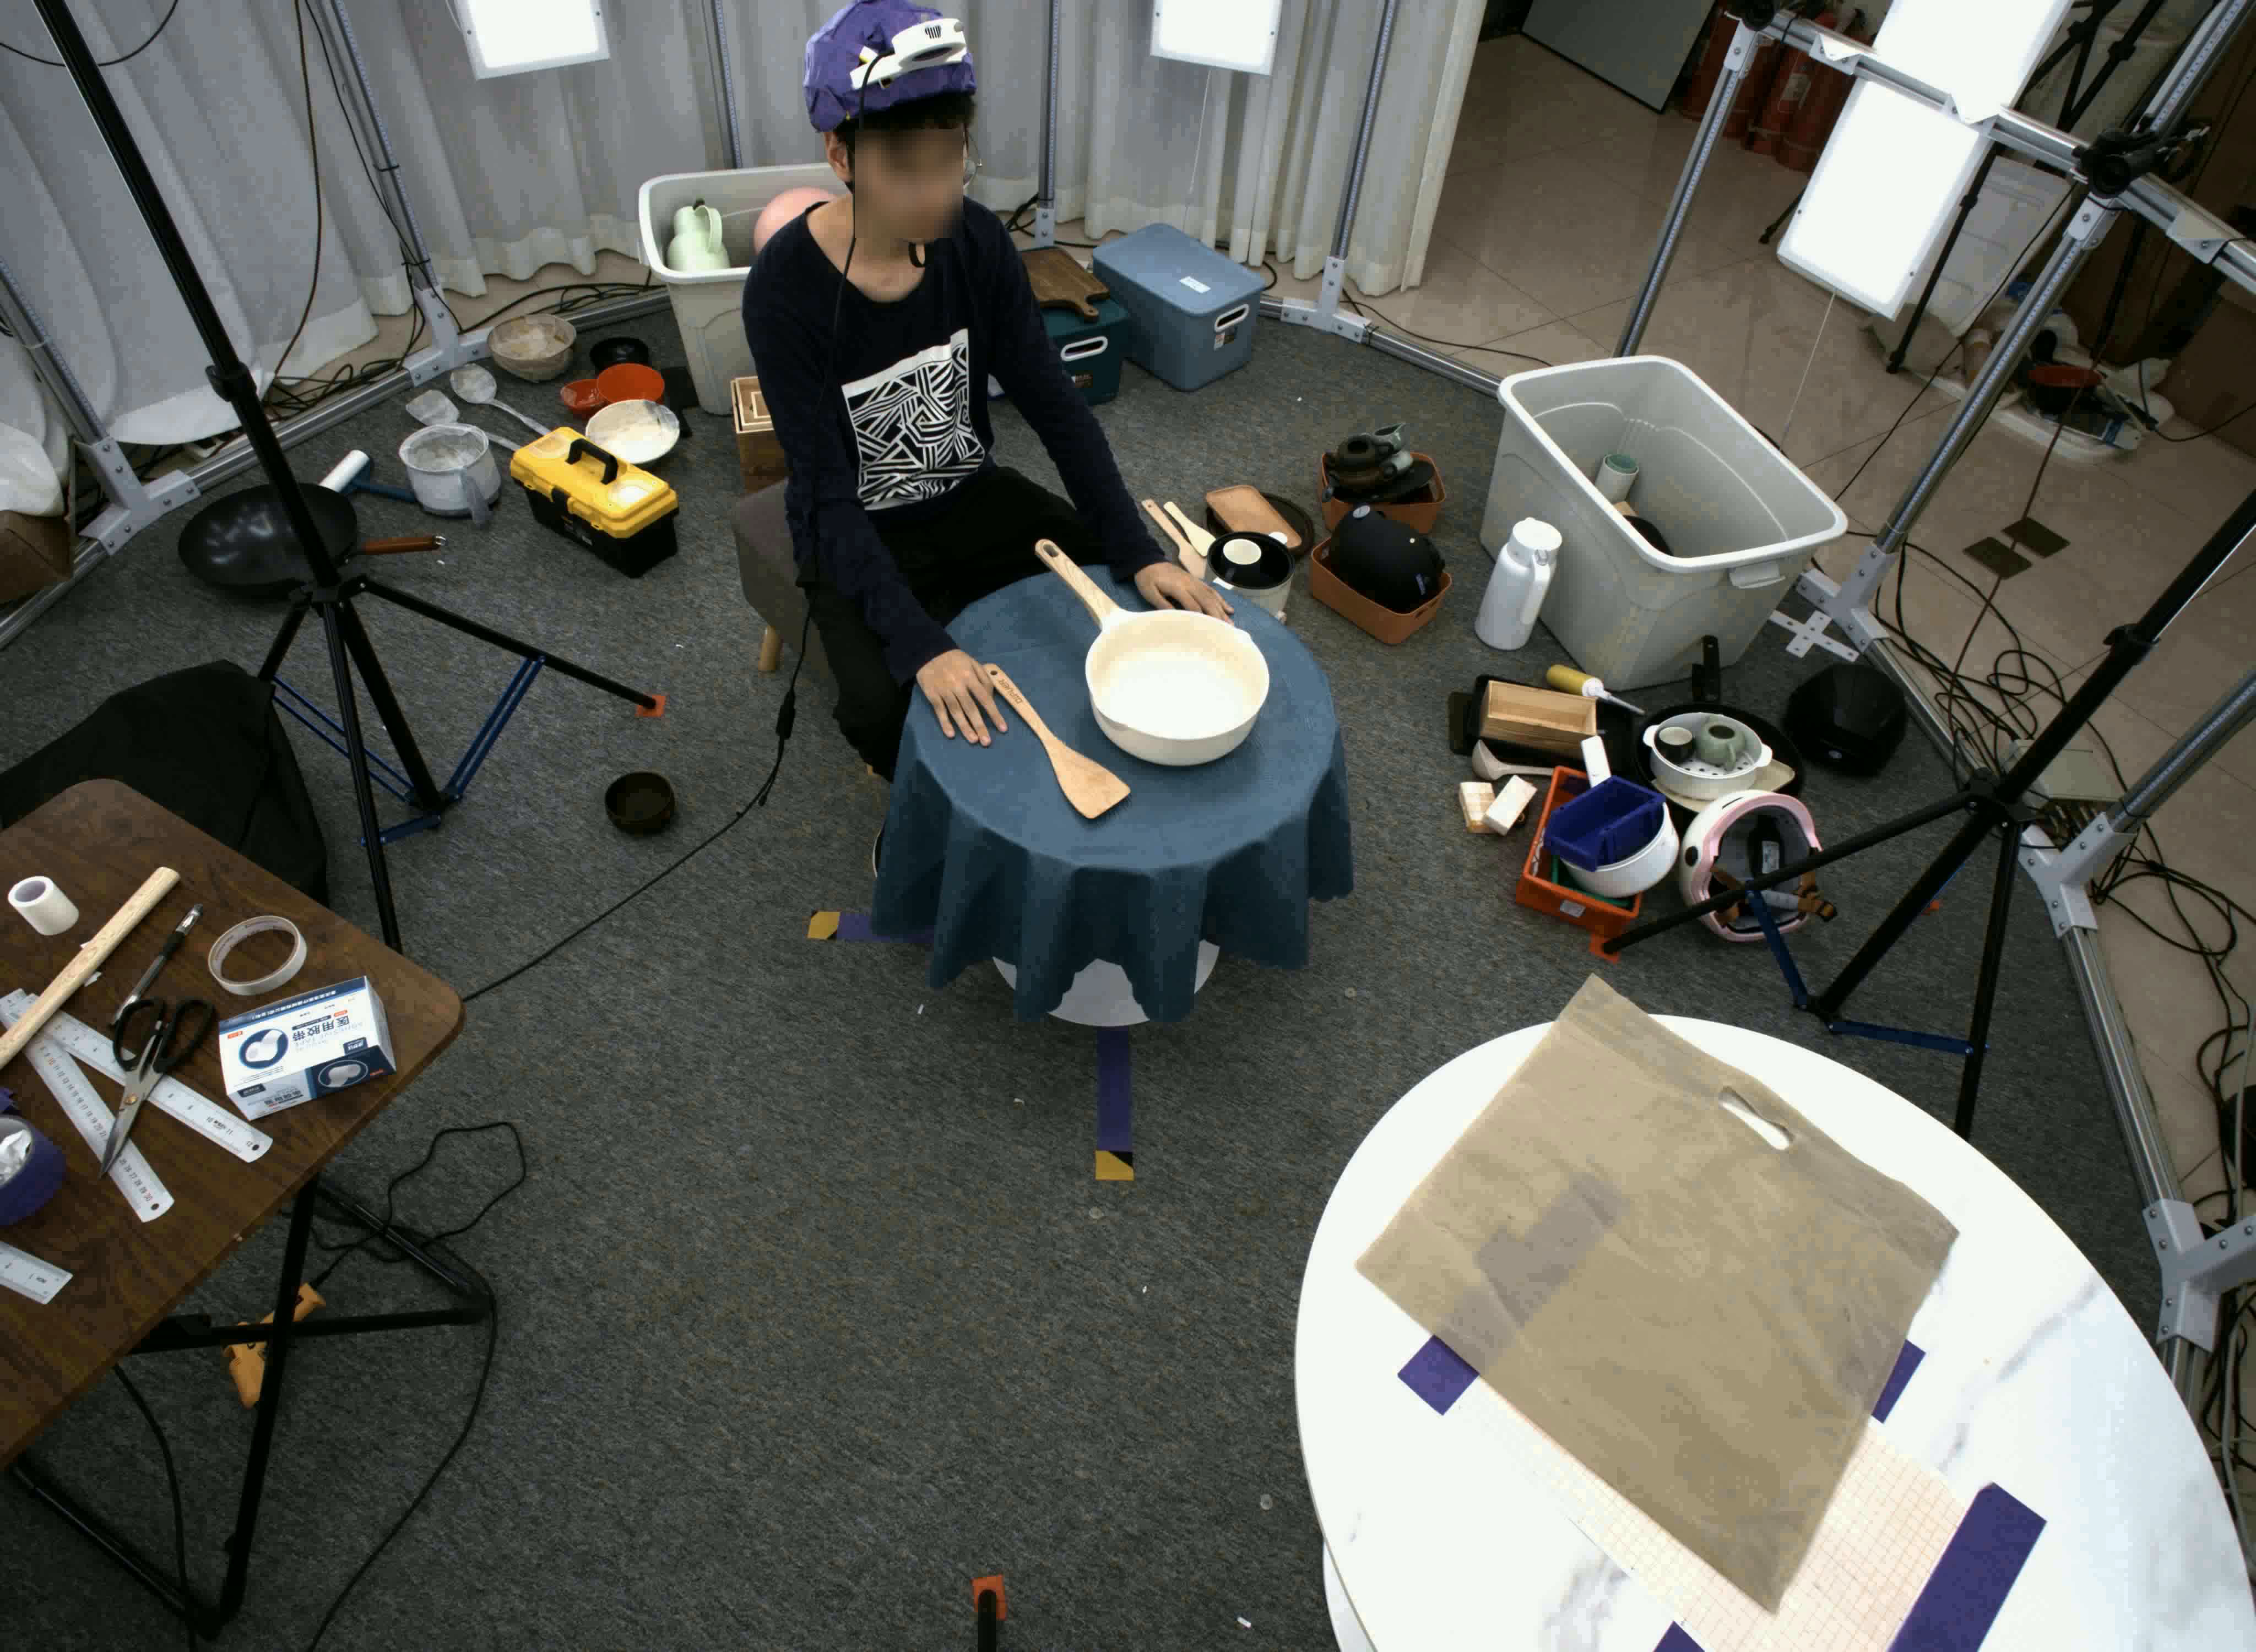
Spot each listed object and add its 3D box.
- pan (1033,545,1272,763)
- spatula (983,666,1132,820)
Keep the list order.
[{"bbox_3d":[0.010,-0.249,1.815,0.265,0.099,0.442,-31,57,-26],"label":"pan"},{"bbox_3d":[-0.109,-0.124,1.752,0.080,0.016,0.334,-25,55,-23],"label":"spatula"}]
